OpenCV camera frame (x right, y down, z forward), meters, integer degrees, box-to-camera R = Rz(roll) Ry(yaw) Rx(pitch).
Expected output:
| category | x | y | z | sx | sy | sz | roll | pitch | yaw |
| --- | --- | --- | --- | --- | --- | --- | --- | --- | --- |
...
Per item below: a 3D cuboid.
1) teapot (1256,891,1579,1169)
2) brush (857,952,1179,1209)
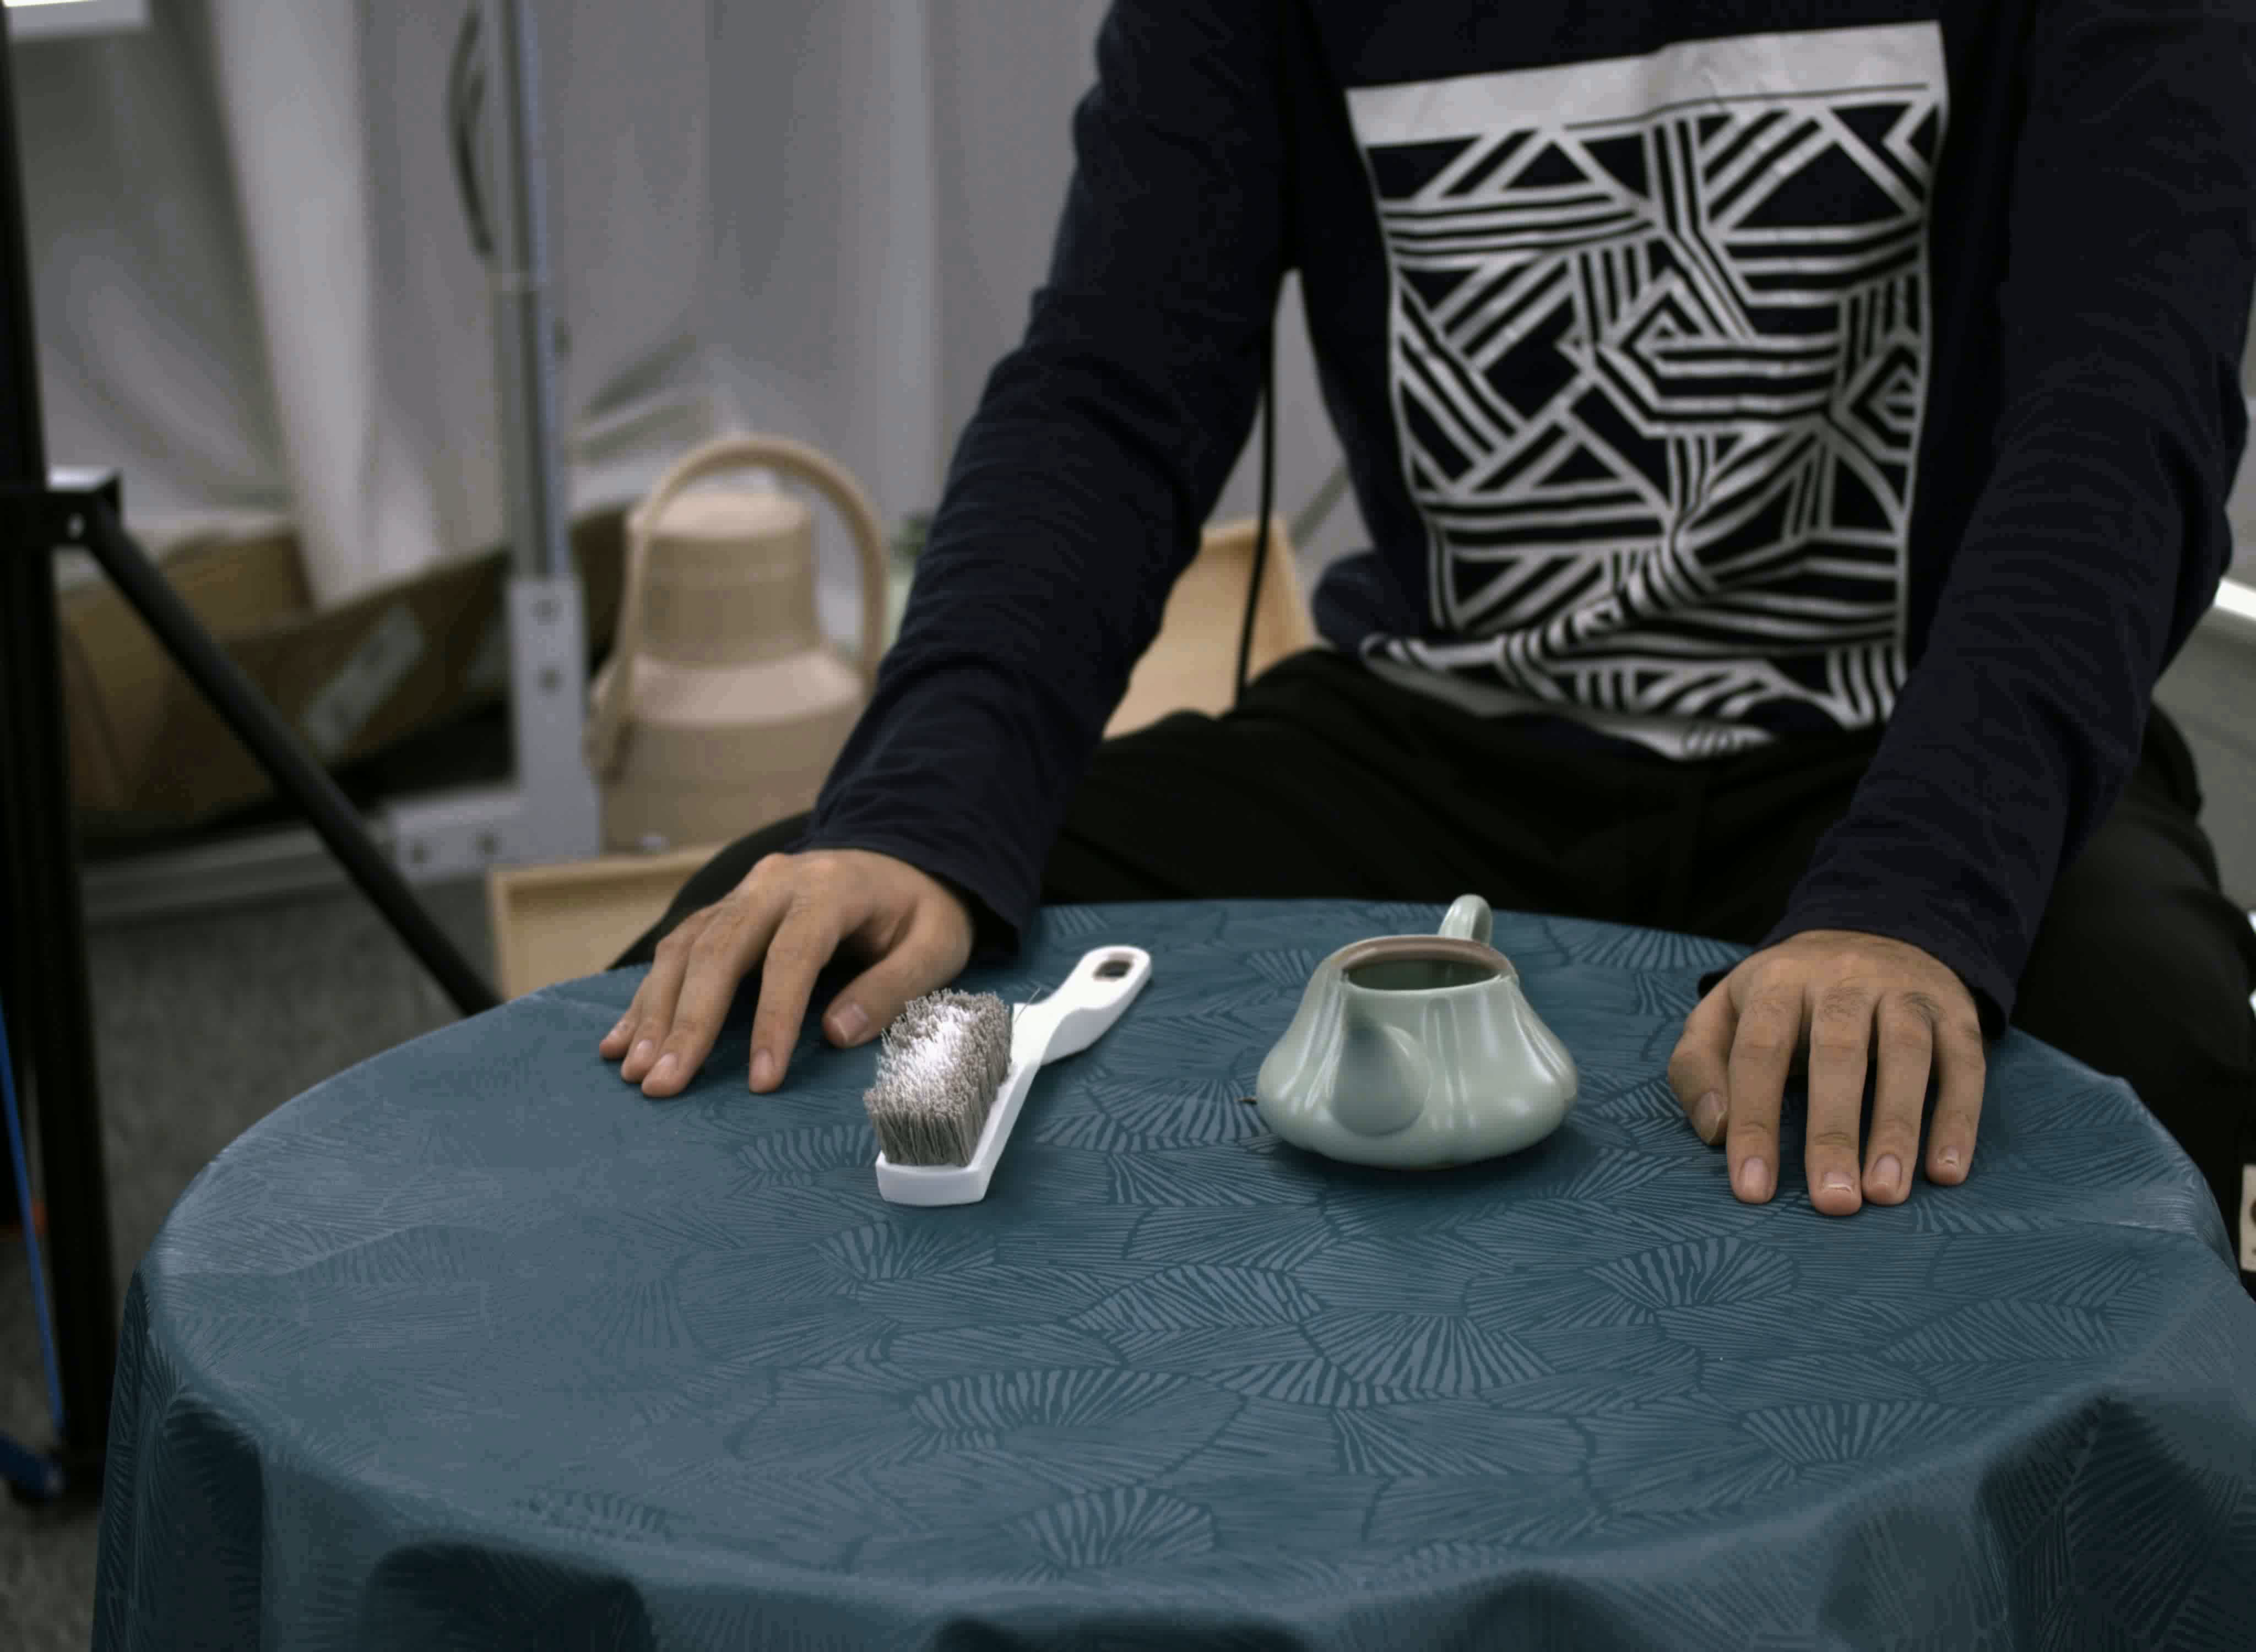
| category | x | y | z | sx | sy | sz | roll | pitch | yaw |
| --- | --- | --- | --- | --- | --- | --- | --- | --- | --- |
| teapot | 0.087 | 0.065 | 1.589 | 0.097 | 0.061 | 0.135 | 0 | 16 | 18 |
| brush | -0.030 | 0.059 | 1.652 | 0.035 | 0.050 | 0.241 | -2 | 15 | 19 |
